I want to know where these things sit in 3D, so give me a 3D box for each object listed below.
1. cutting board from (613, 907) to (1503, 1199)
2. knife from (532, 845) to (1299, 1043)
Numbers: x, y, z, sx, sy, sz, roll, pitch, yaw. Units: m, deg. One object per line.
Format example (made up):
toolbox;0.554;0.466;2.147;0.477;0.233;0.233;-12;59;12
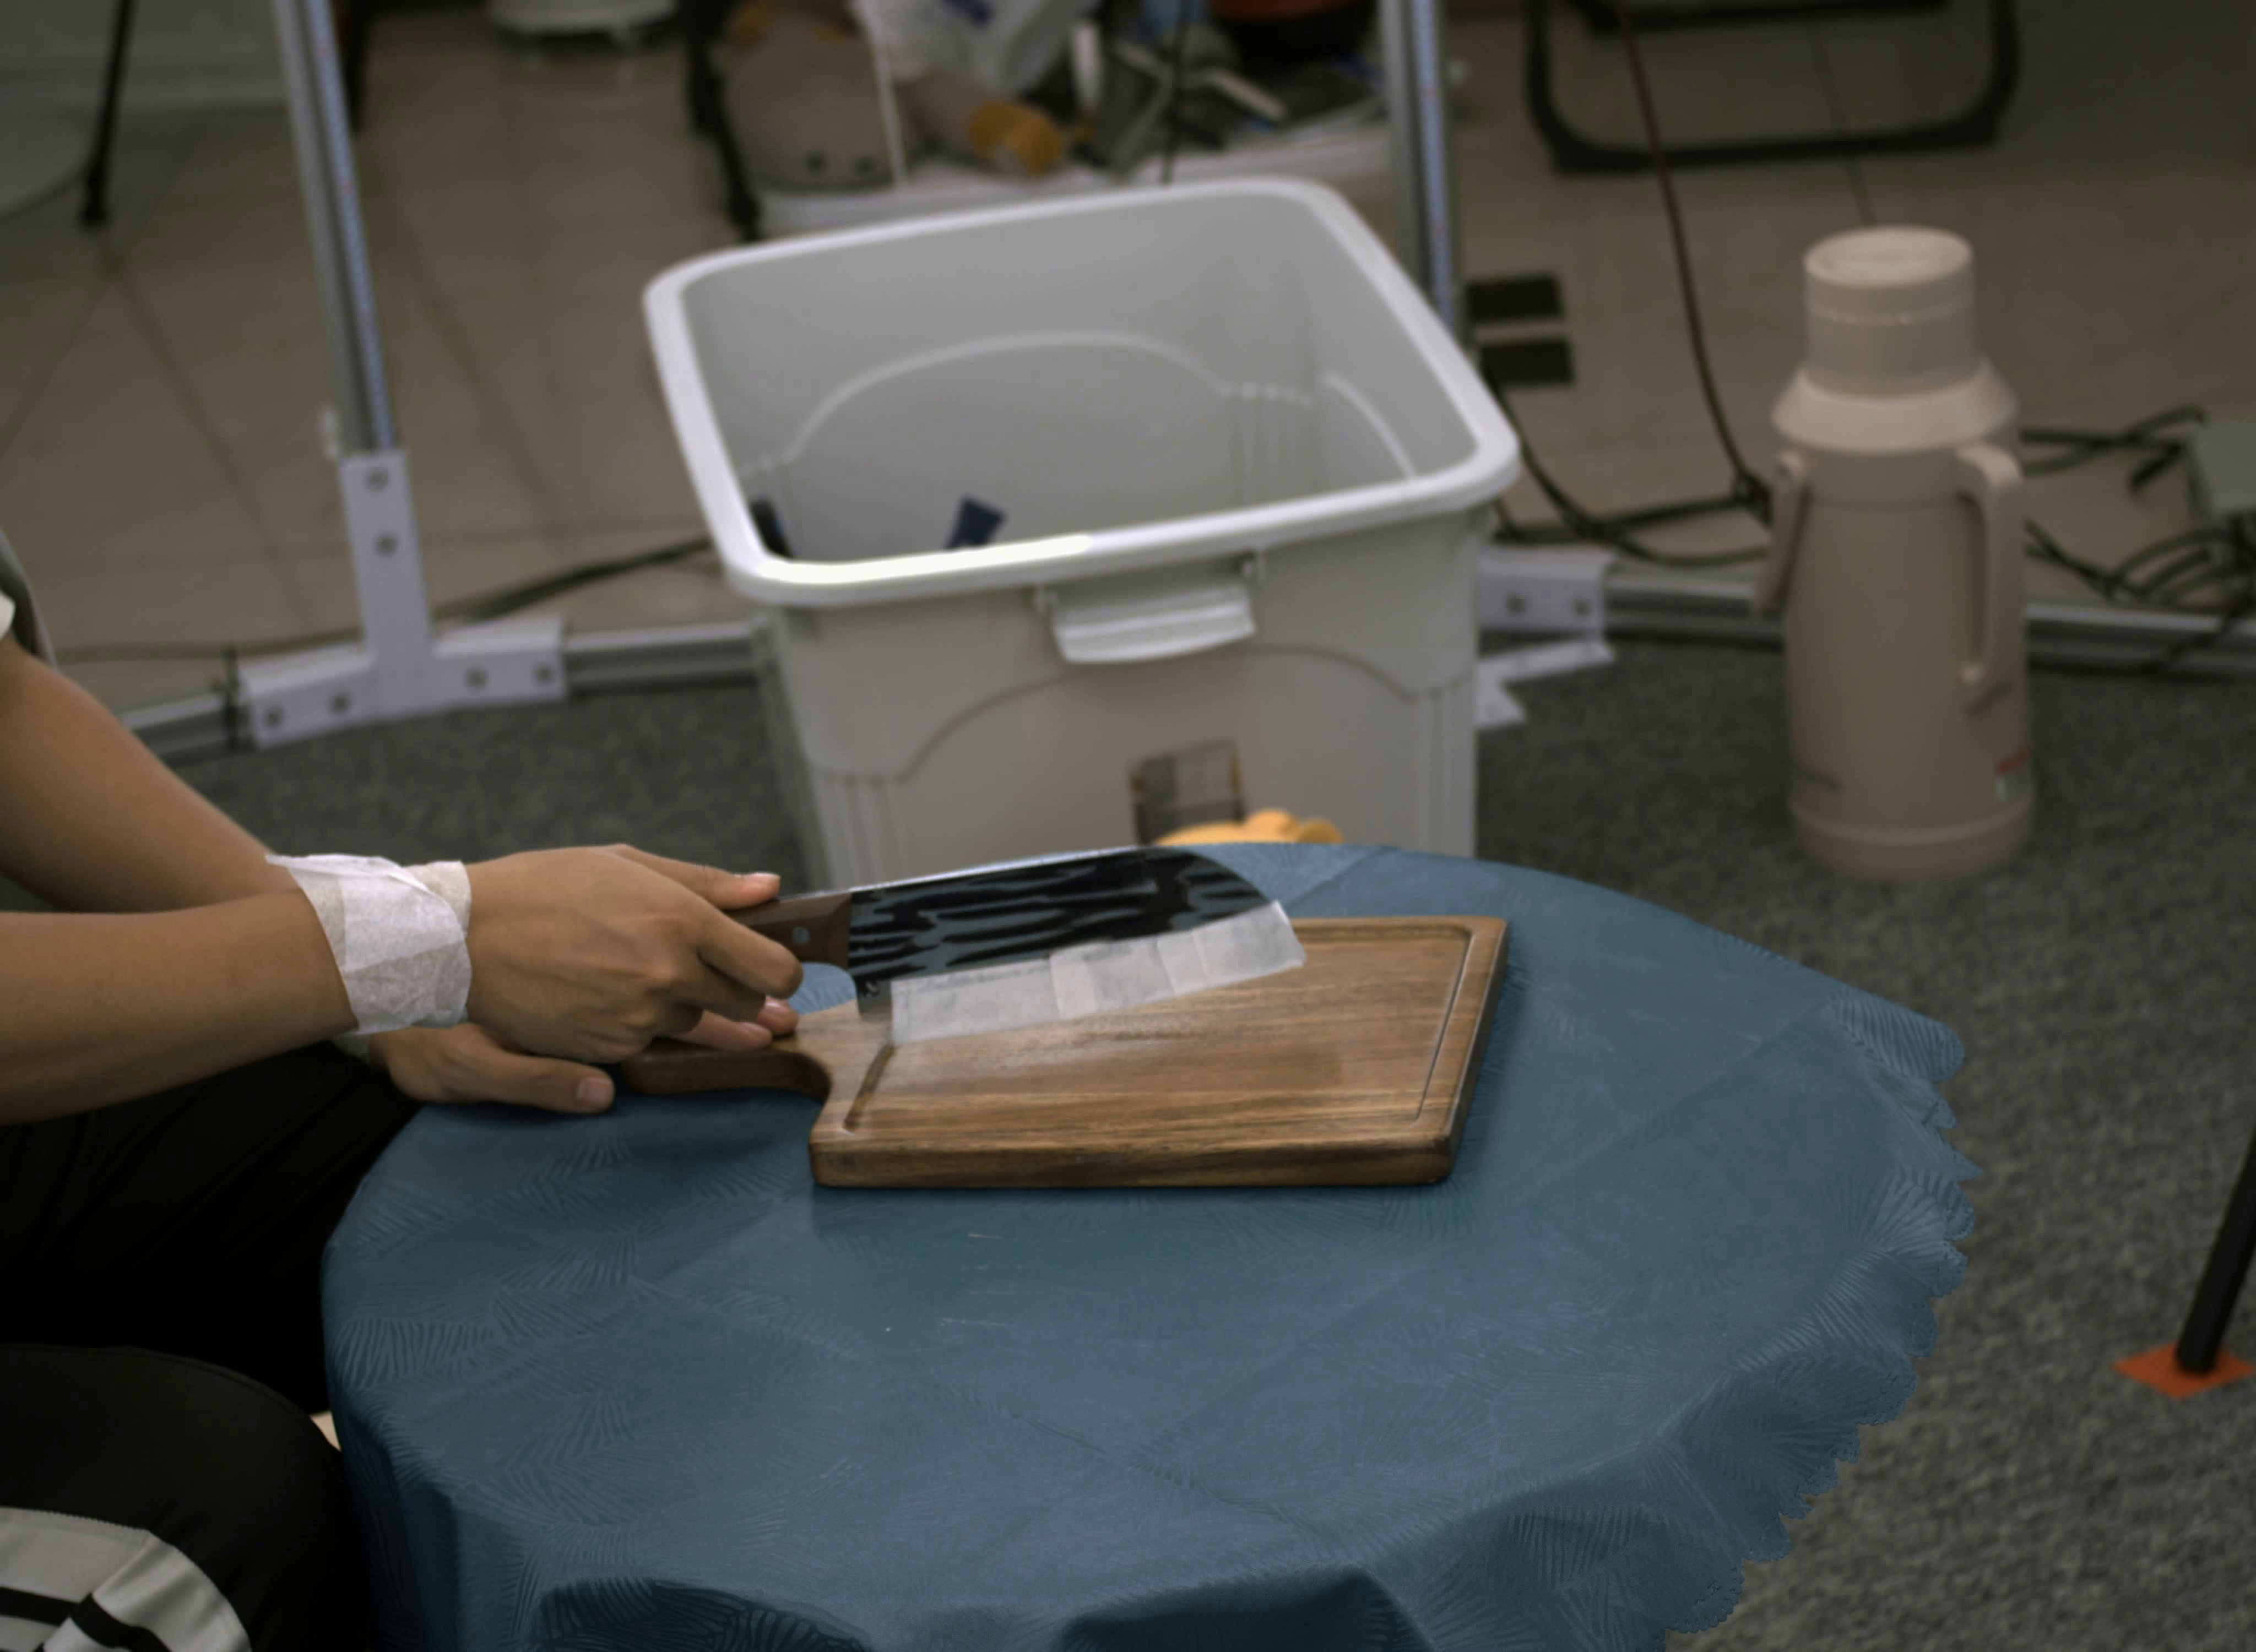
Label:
cutting board;-0.033;0.089;2.246;0.351;0.023;0.198;-2;27;12
knife;-0.081;0.050;2.217;0.299;0.069;0.023;-7;20;-6
